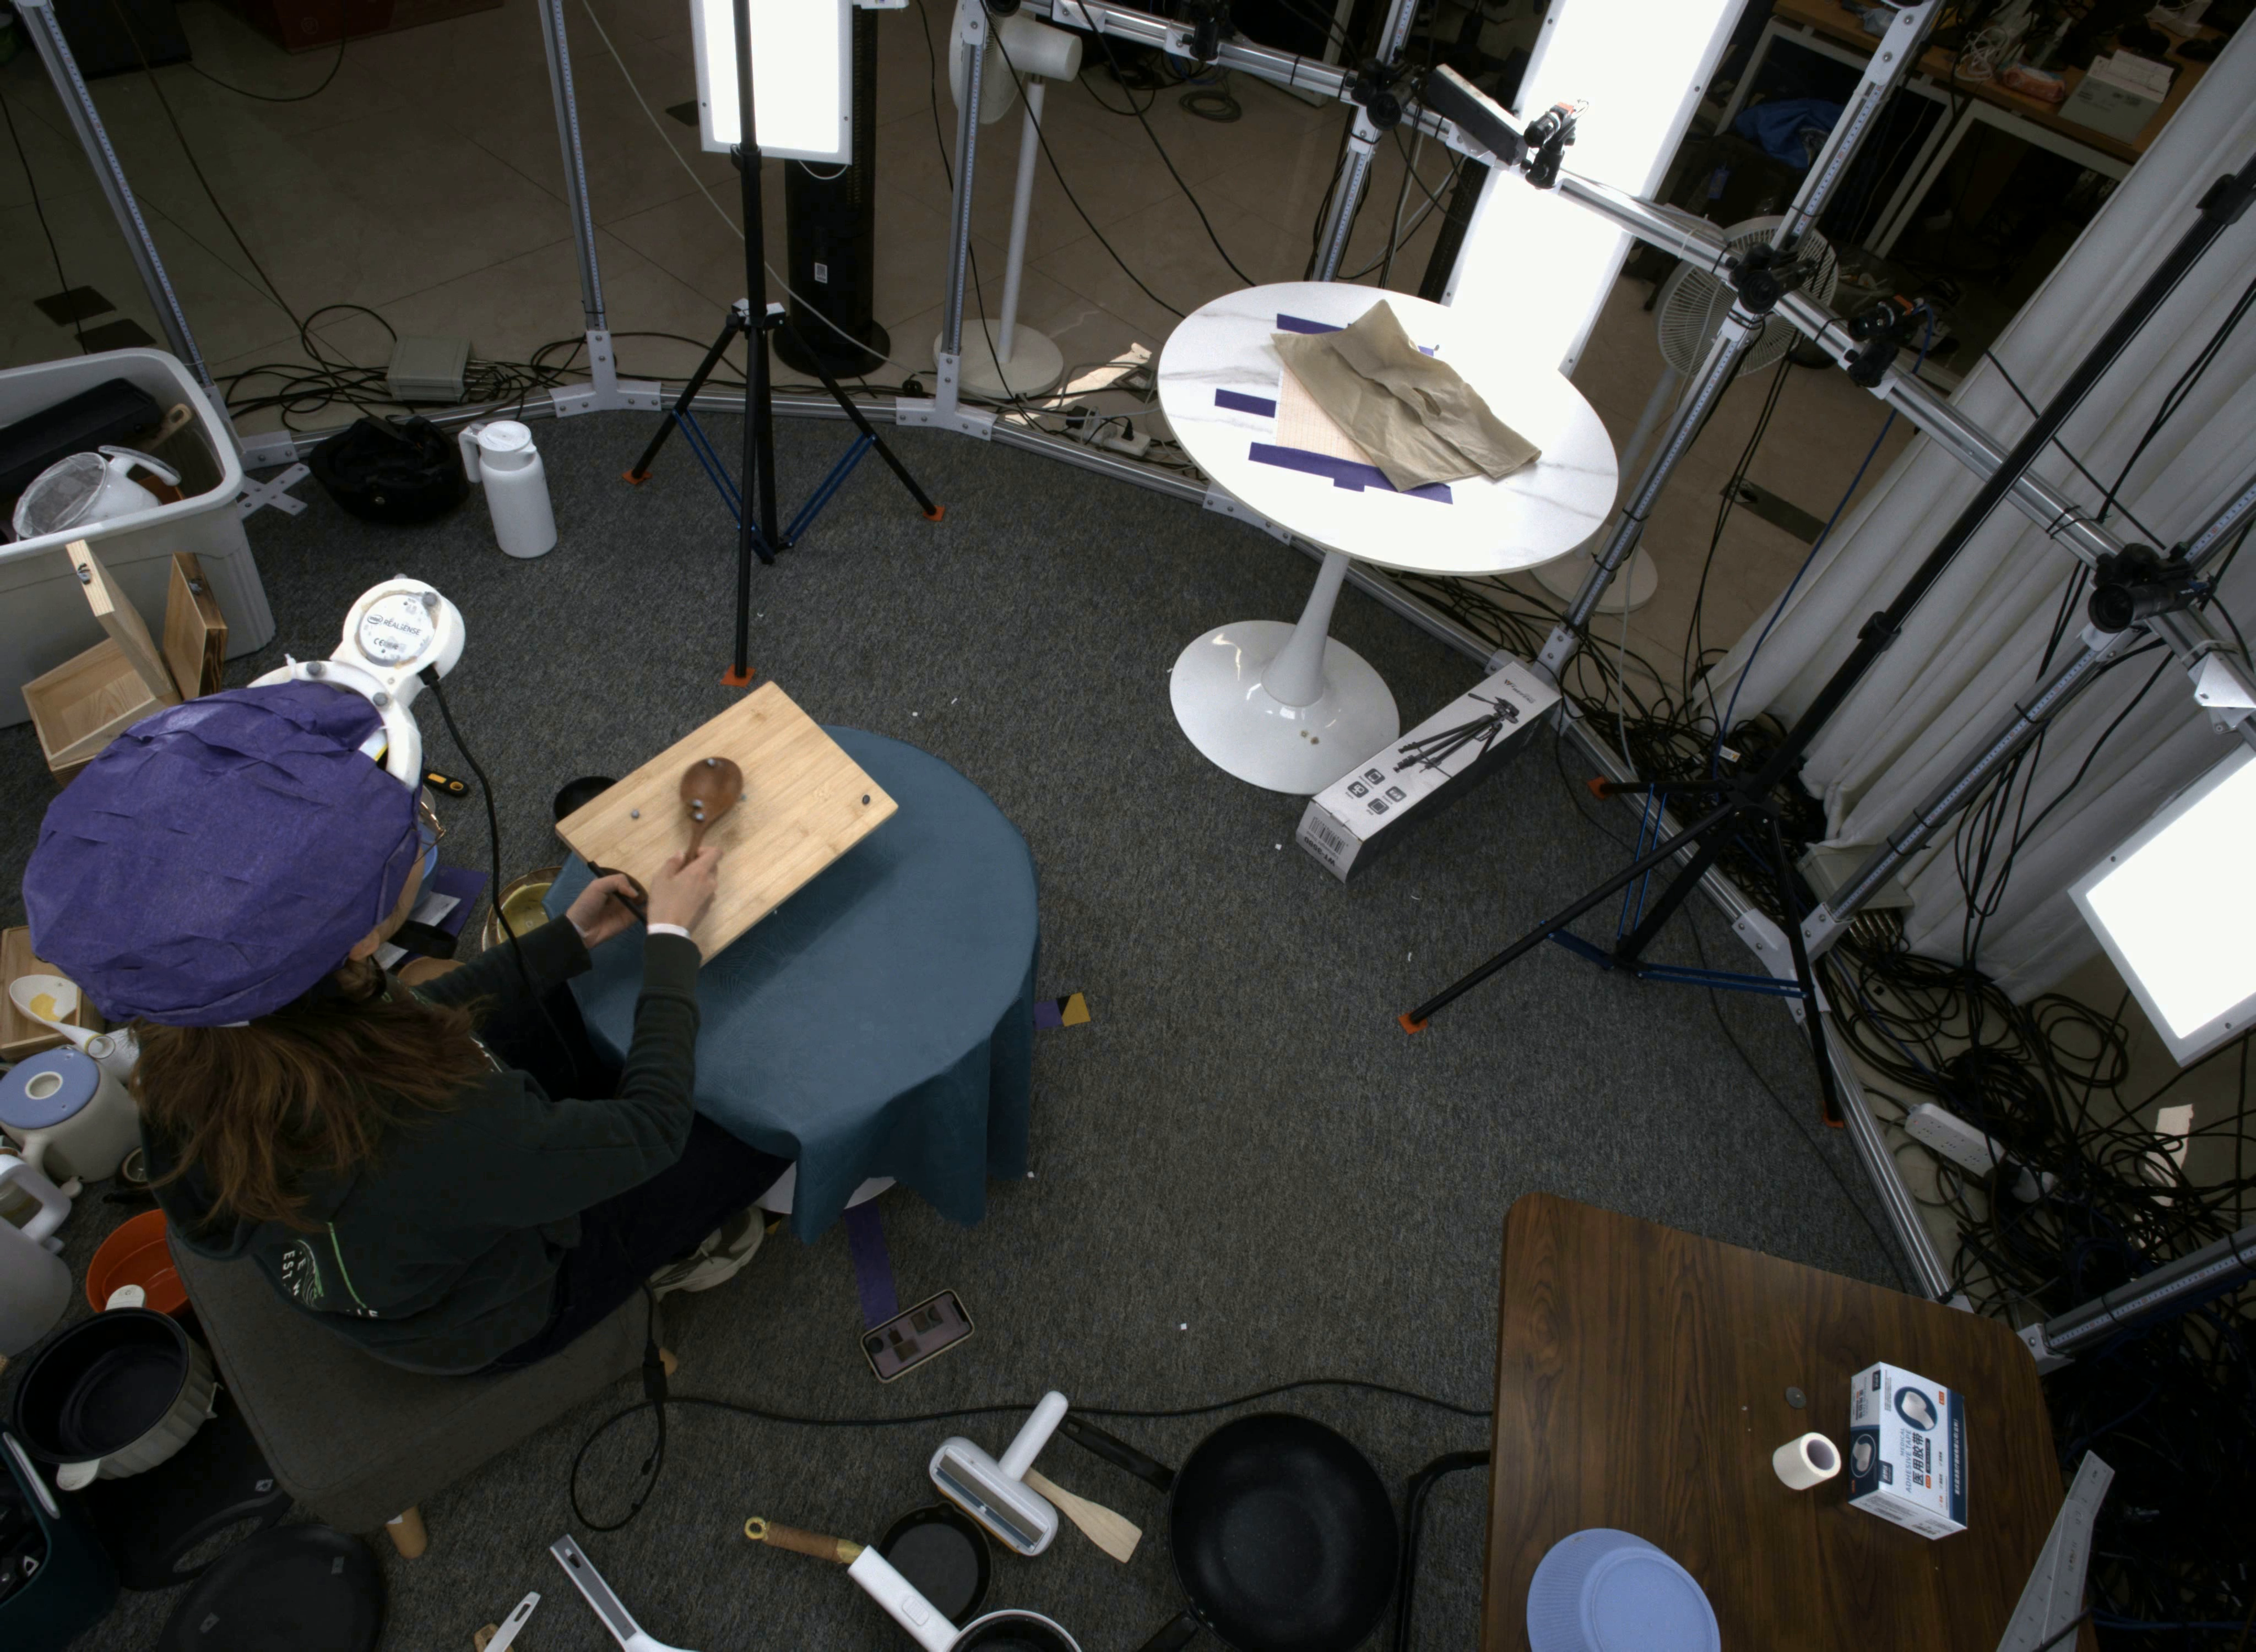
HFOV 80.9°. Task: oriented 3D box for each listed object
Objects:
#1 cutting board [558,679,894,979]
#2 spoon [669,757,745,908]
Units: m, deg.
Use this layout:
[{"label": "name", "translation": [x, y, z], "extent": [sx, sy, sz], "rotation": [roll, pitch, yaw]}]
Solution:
[{"label": "cutting board", "translation": [-0.490, -0.008, 1.585], "extent": [0.250, 0.023, 0.348], "rotation": [44, 55, 2]}, {"label": "spoon", "translation": [-0.501, 0.003, 1.507], "extent": [0.075, 0.017, 0.212], "rotation": [9, 52, -8]}]
